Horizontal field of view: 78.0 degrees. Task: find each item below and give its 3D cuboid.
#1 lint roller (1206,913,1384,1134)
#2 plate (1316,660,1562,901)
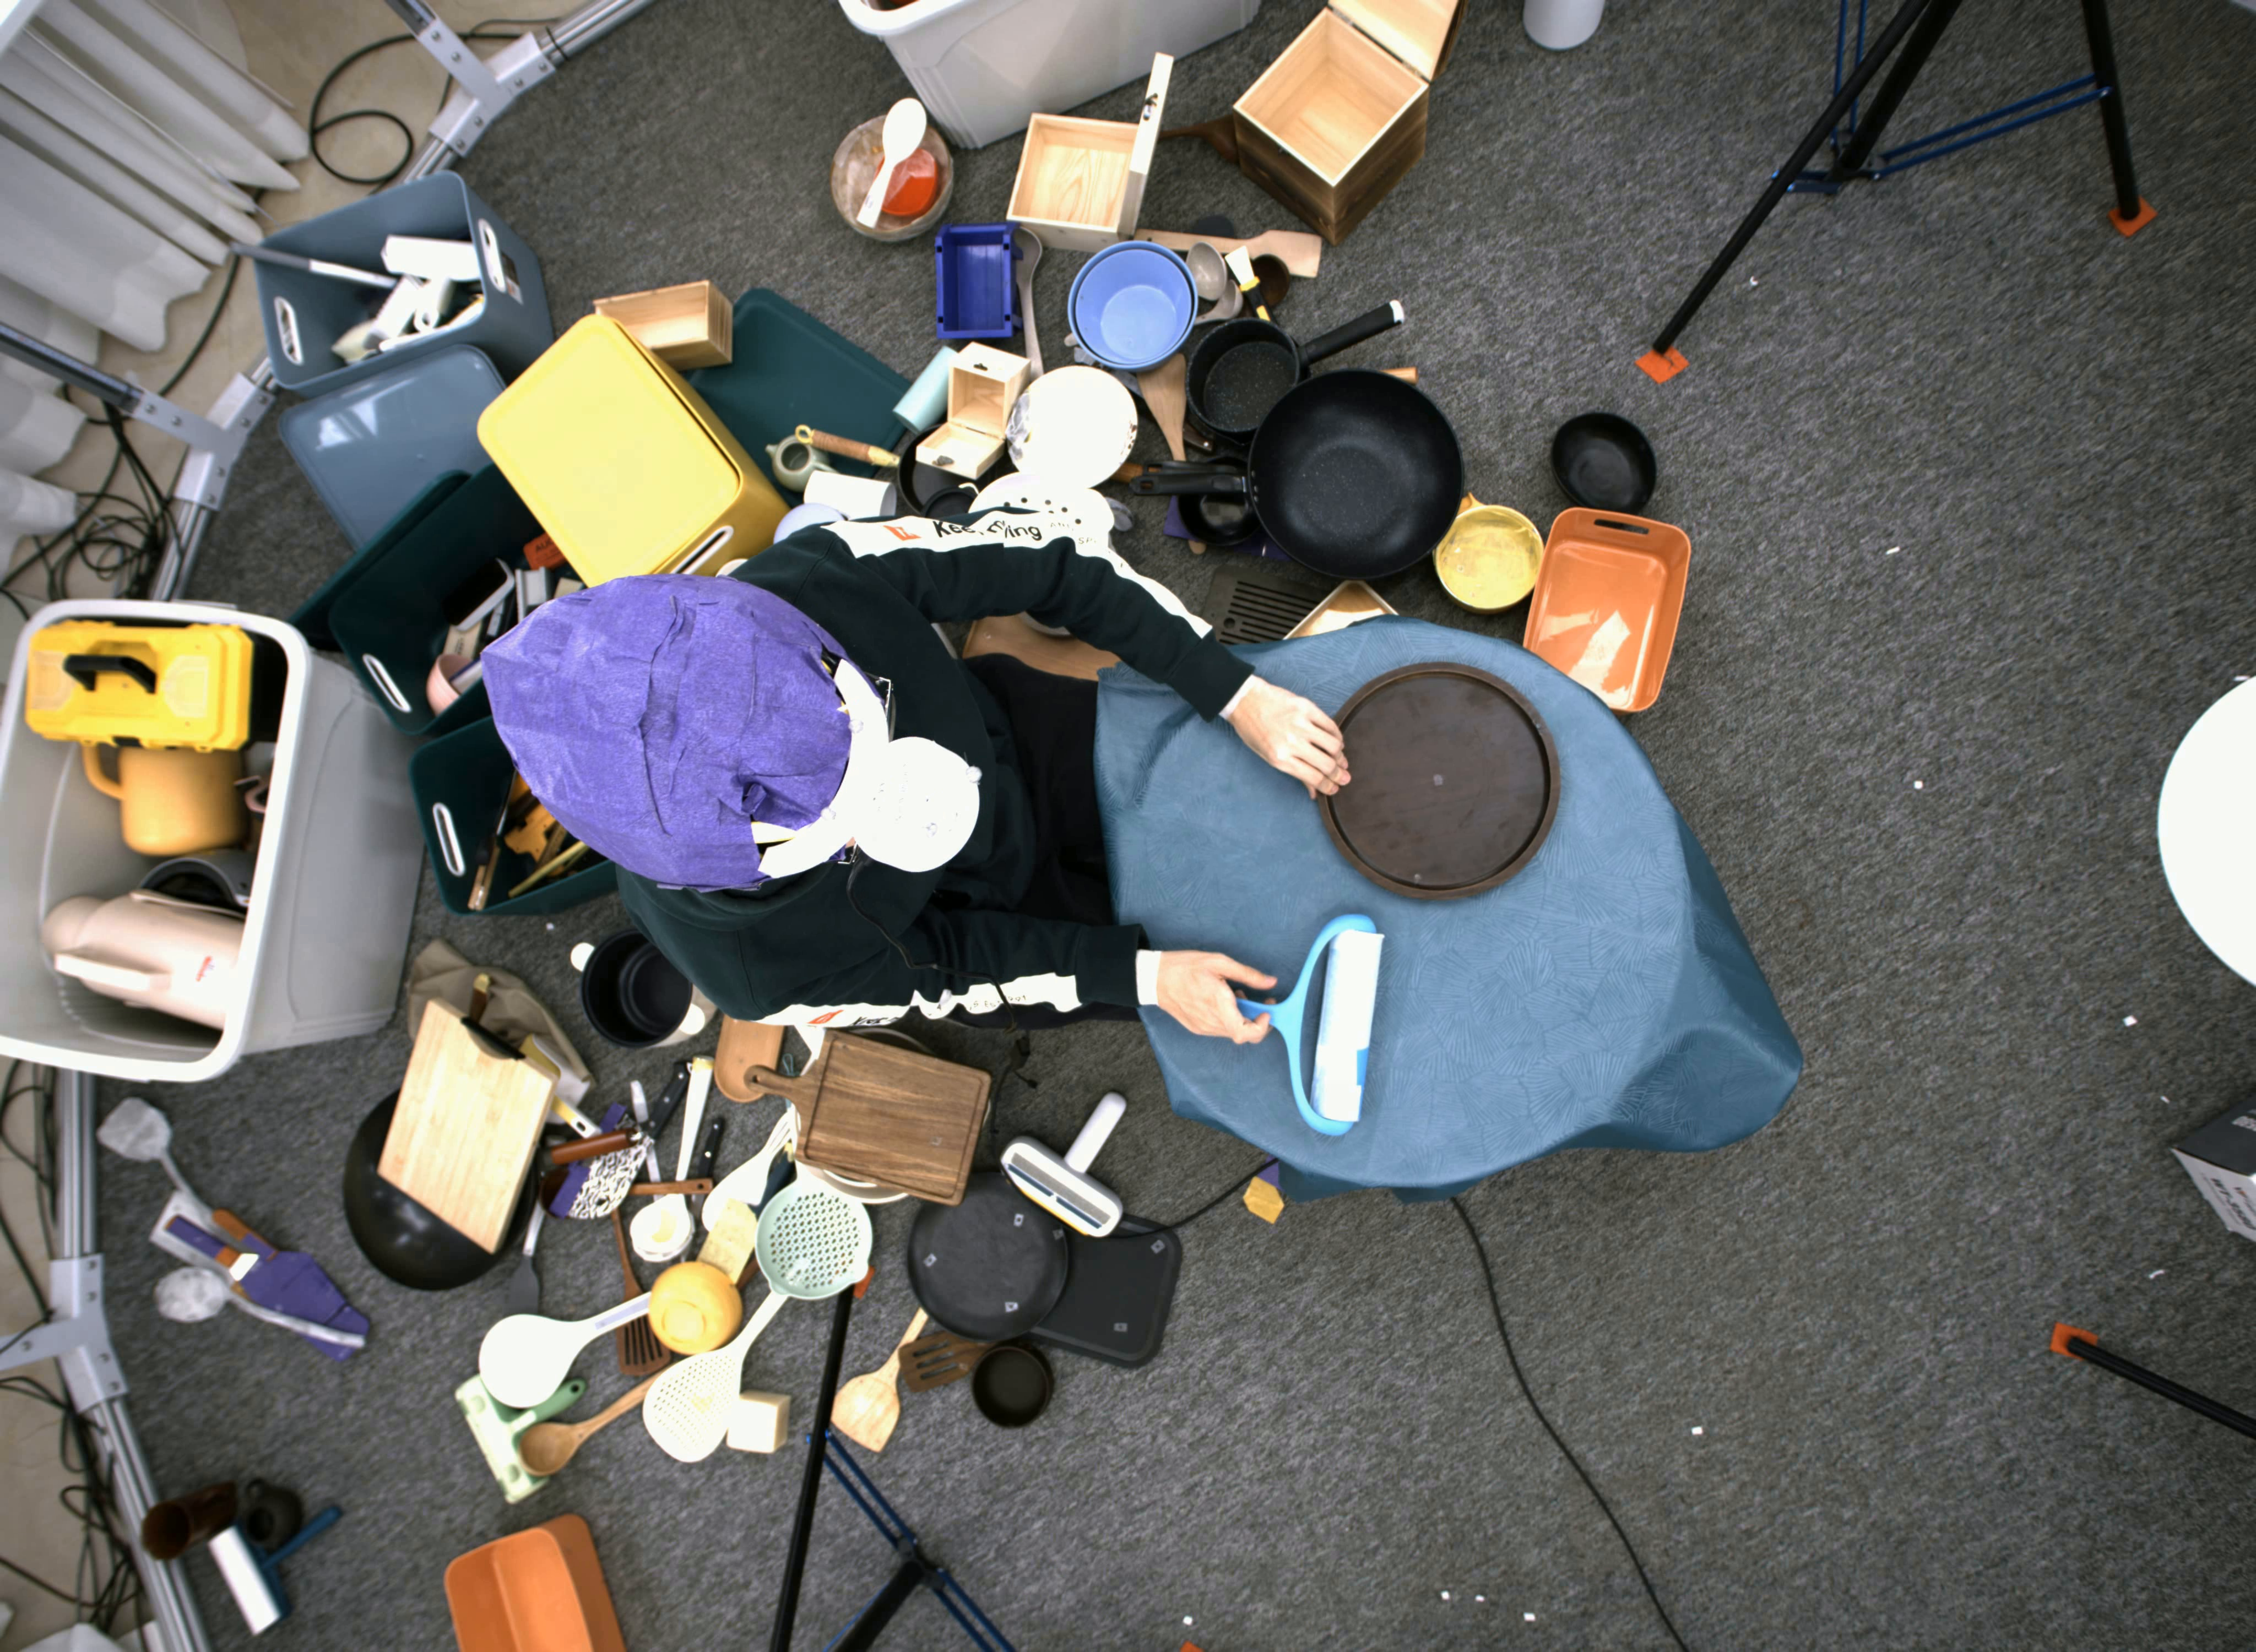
[{"bbox_3d":[0.168,0.199,1.439,0.181,0.068,0.228,4,89,9],"label":"lint roller"},{"bbox_3d":[0.324,-0.050,1.440,0.256,0.029,0.253,-1,86,10],"label":"plate"}]
